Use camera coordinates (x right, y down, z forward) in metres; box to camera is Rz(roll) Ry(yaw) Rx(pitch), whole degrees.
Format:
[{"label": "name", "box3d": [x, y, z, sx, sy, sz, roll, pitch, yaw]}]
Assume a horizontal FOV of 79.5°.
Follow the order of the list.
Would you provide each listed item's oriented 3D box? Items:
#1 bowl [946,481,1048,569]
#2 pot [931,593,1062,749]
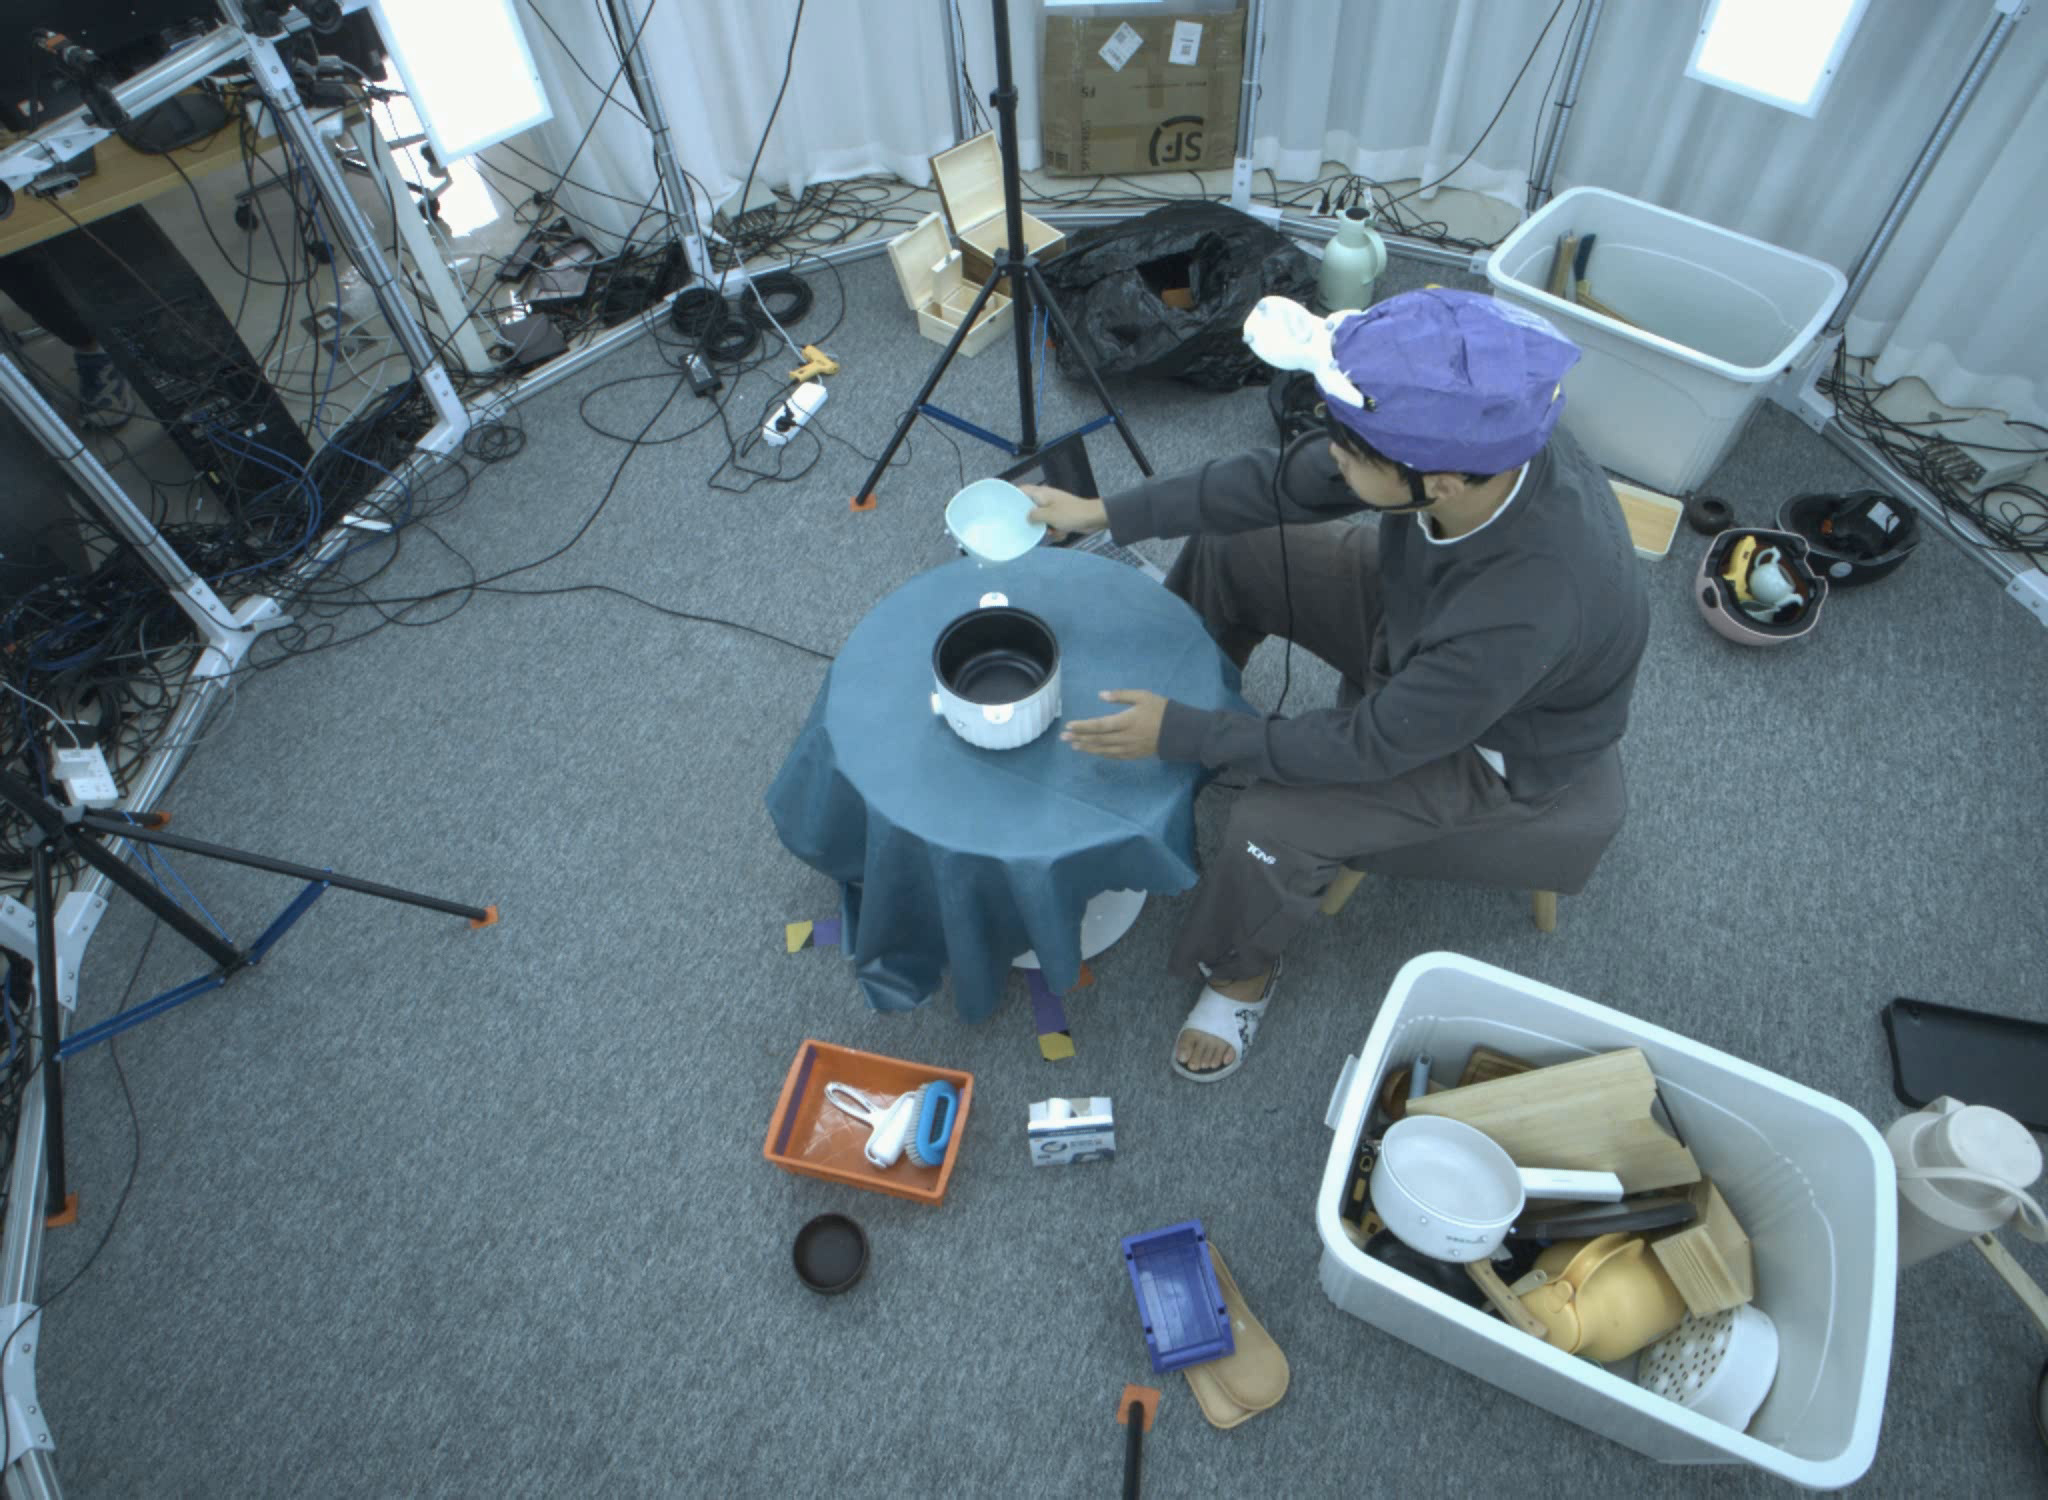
[{"label": "bowl", "box3d": [-0.045, -0.326, 1.830, 0.153, 0.058, 0.150, 6, 63, -10]}, {"label": "pot", "box3d": [-0.040, -0.095, 1.769, 0.191, 0.144, 0.237, -3, 53, -4]}]
